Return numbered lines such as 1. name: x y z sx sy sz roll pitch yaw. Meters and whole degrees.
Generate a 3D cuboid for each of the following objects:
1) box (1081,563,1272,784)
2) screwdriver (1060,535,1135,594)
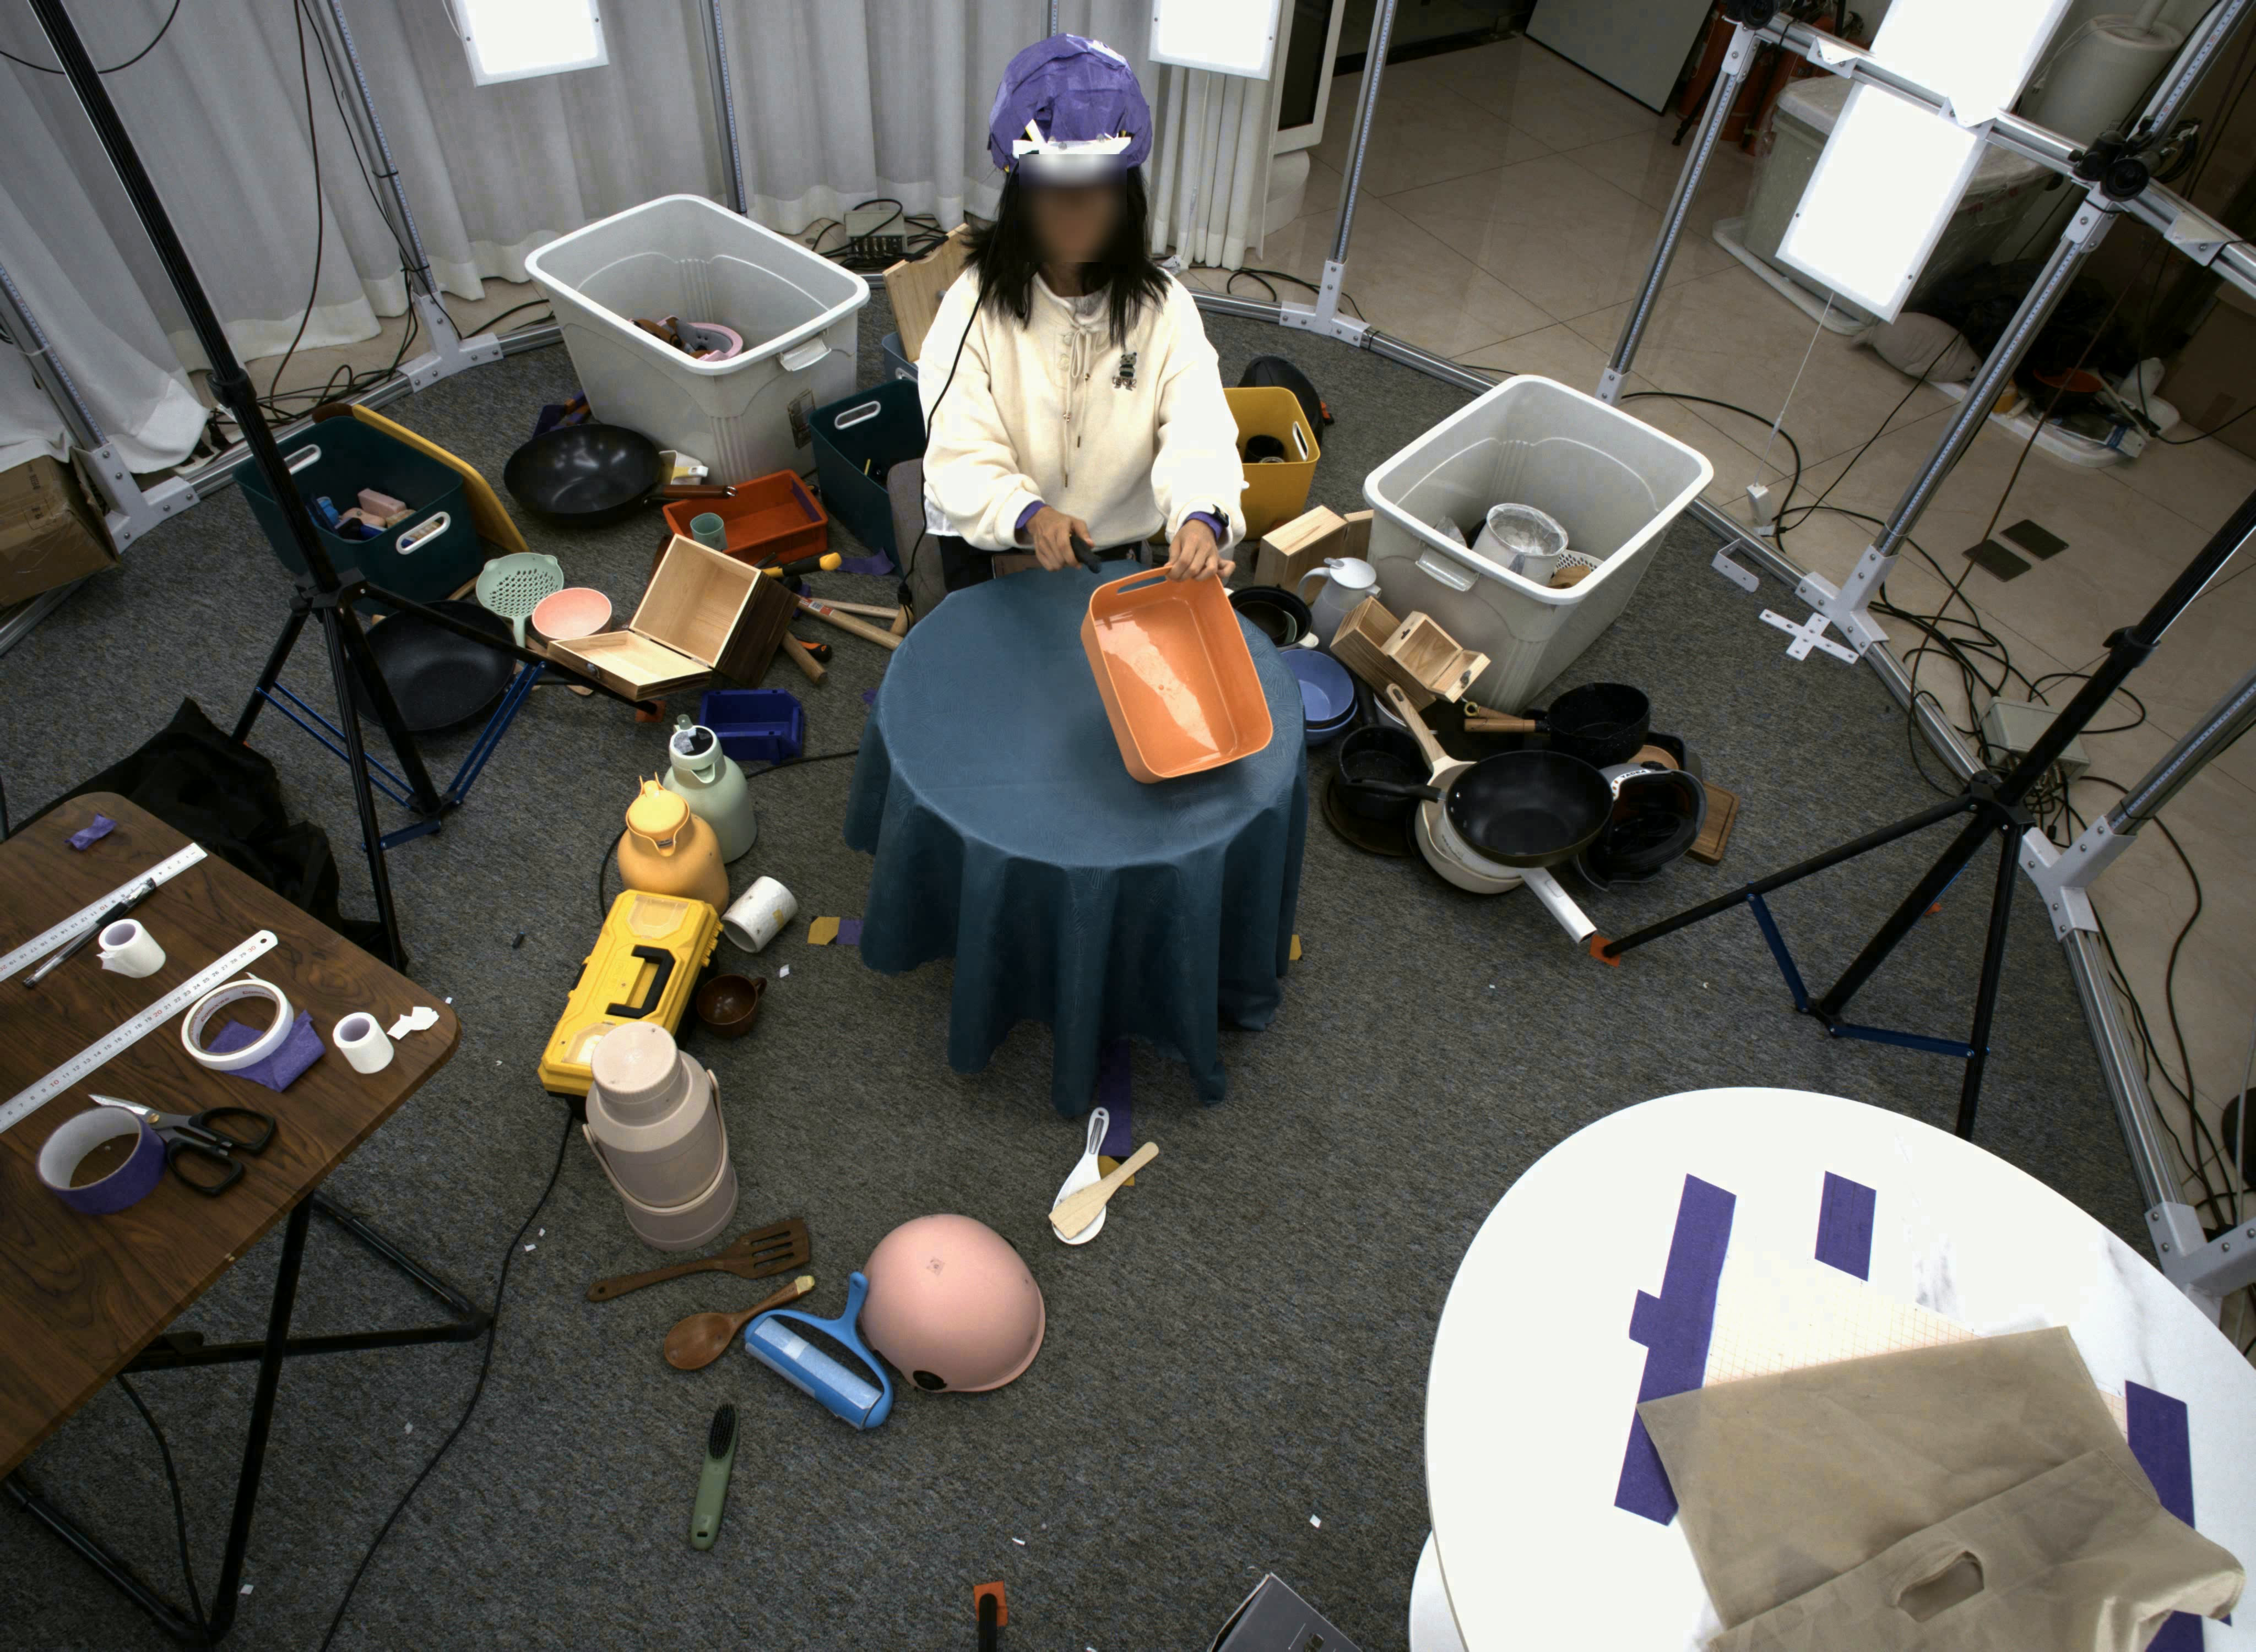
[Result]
1. box: 0.058 -0.197 1.711 0.199 0.102 0.275 -18 84 -17
2. screwdriver: -0.044 -0.356 1.773 0.031 0.031 0.202 -18 39 -19
